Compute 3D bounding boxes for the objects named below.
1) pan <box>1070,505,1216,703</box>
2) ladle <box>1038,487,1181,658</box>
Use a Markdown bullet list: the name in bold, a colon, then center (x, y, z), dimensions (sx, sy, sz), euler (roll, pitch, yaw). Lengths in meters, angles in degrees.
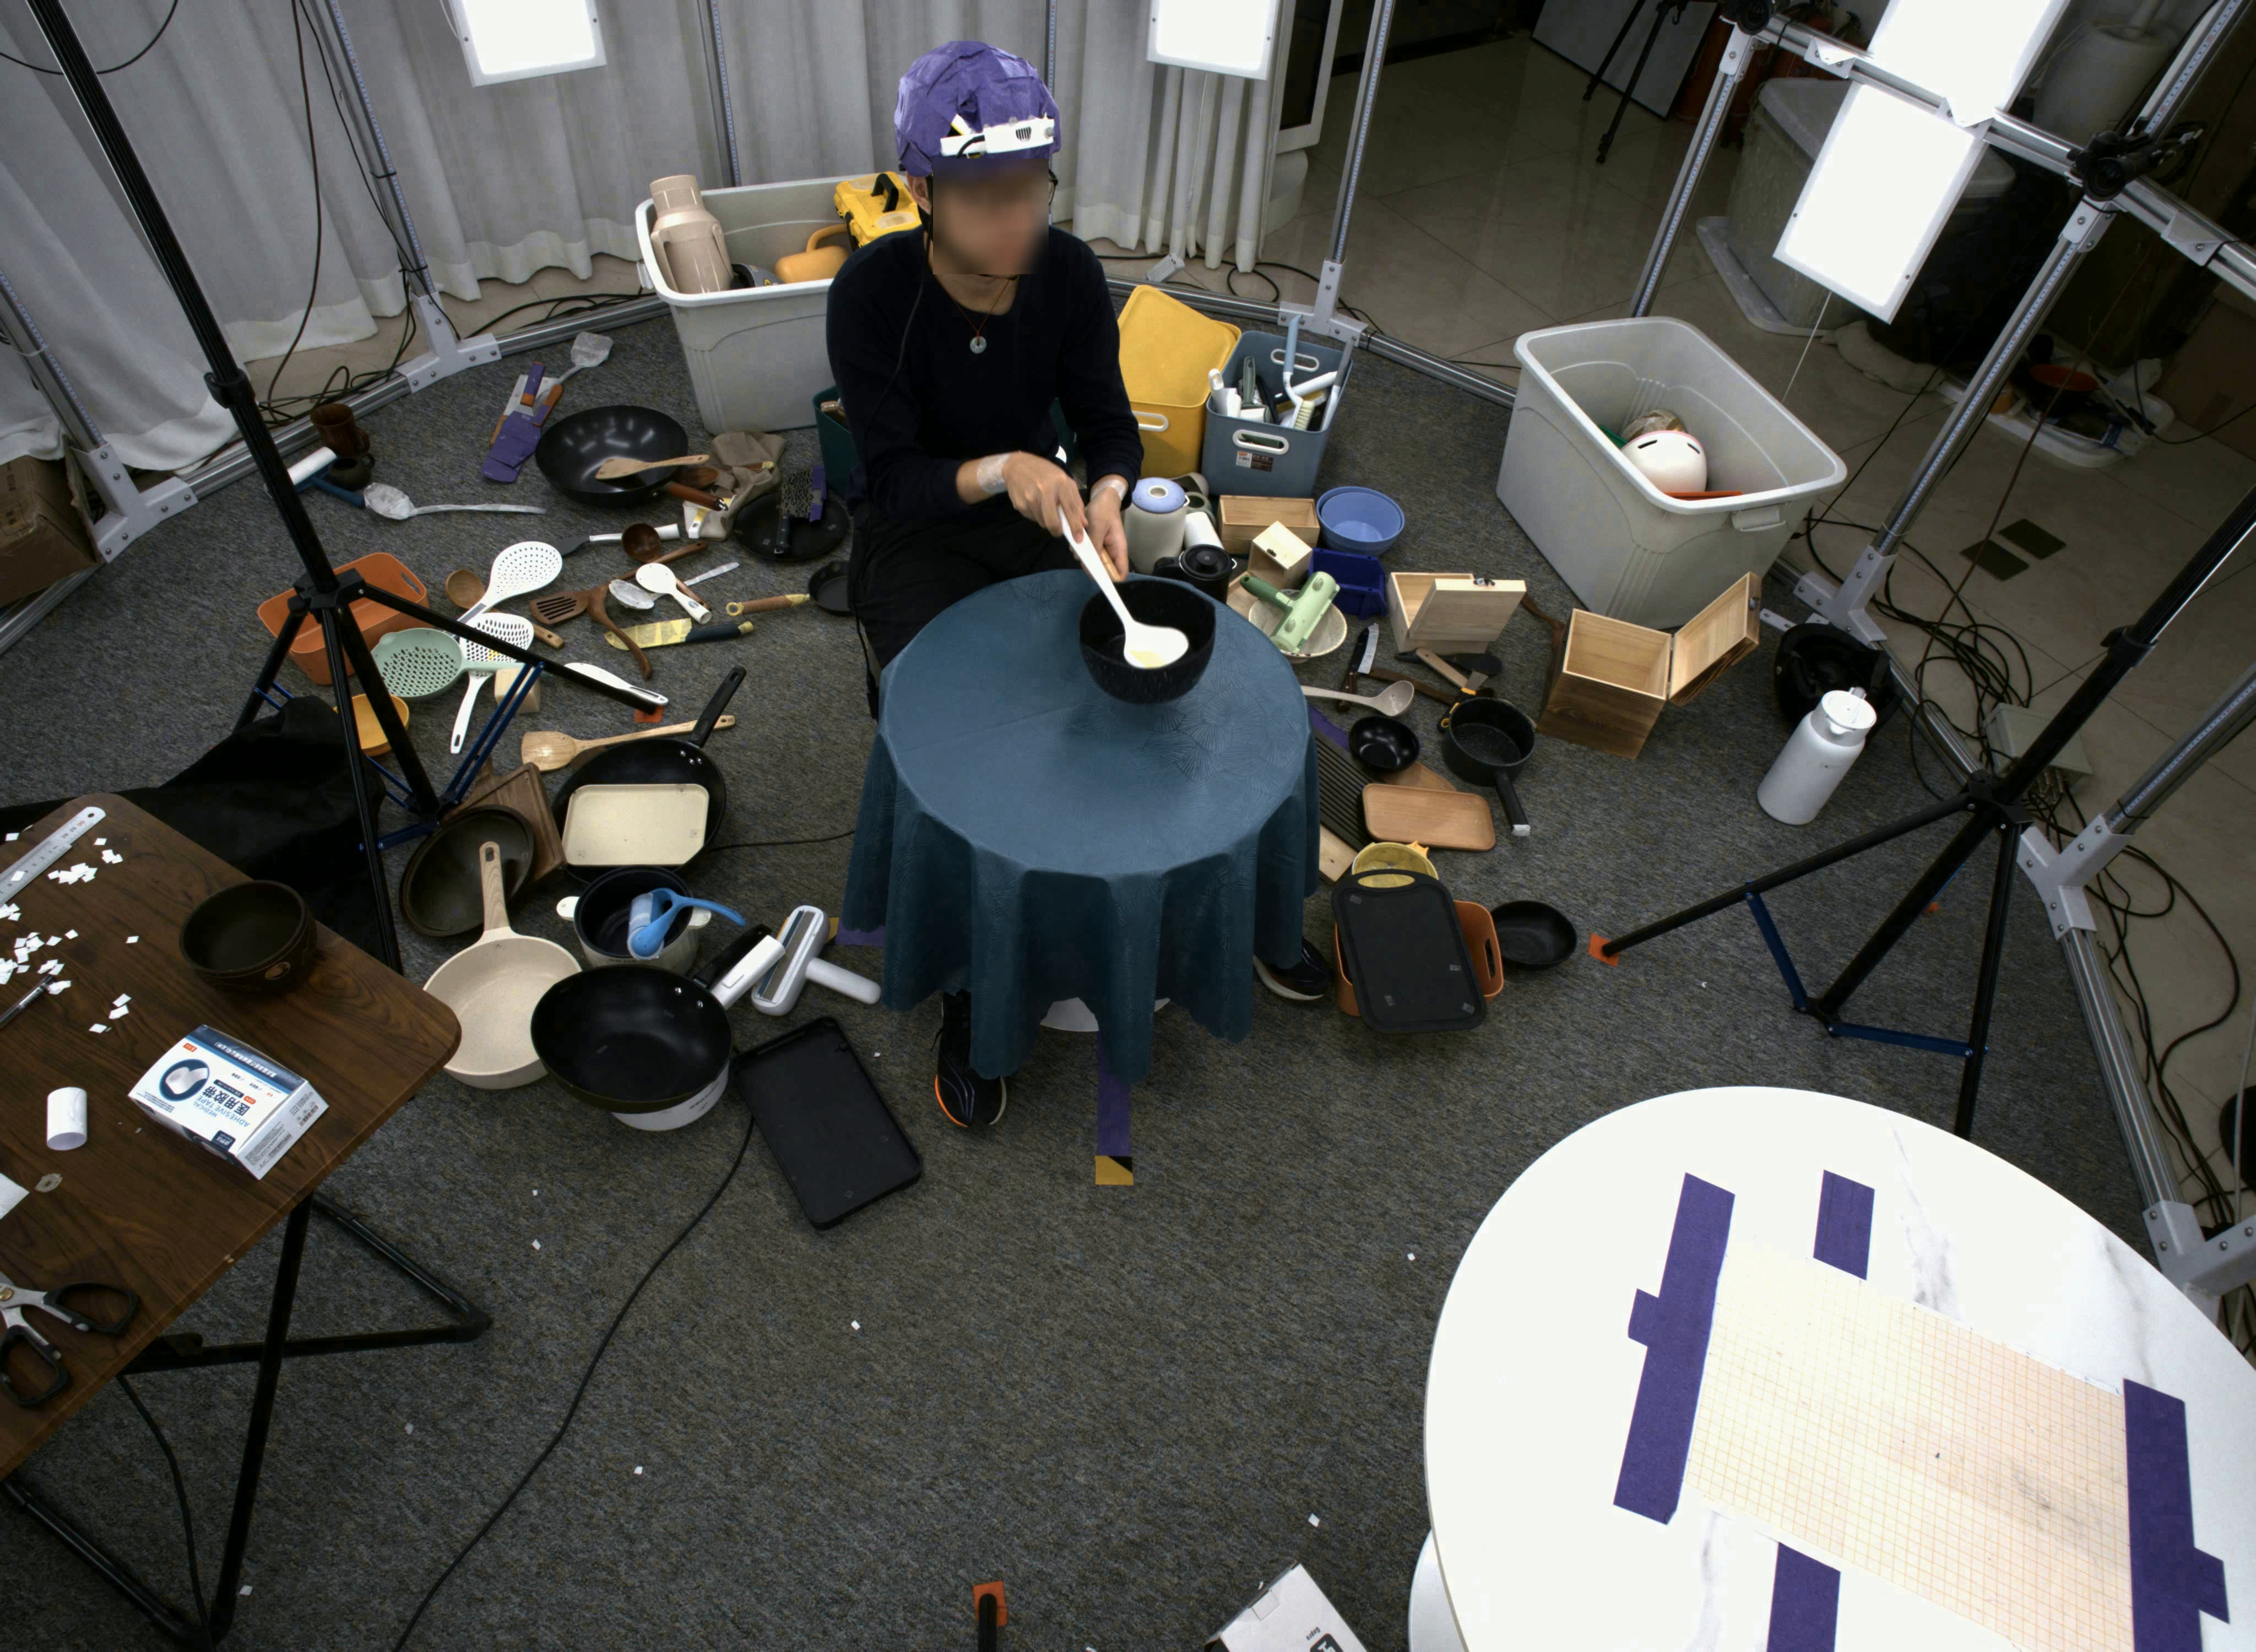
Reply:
- **pan**: center (-0.008, -0.309, 1.782), dimensions (0.208, 0.105, 0.351), euler (-19, 50, -15)
- **ladle**: center (-0.033, -0.335, 1.737), dimensions (0.090, 0.069, 0.294), euler (-30, 84, -12)
